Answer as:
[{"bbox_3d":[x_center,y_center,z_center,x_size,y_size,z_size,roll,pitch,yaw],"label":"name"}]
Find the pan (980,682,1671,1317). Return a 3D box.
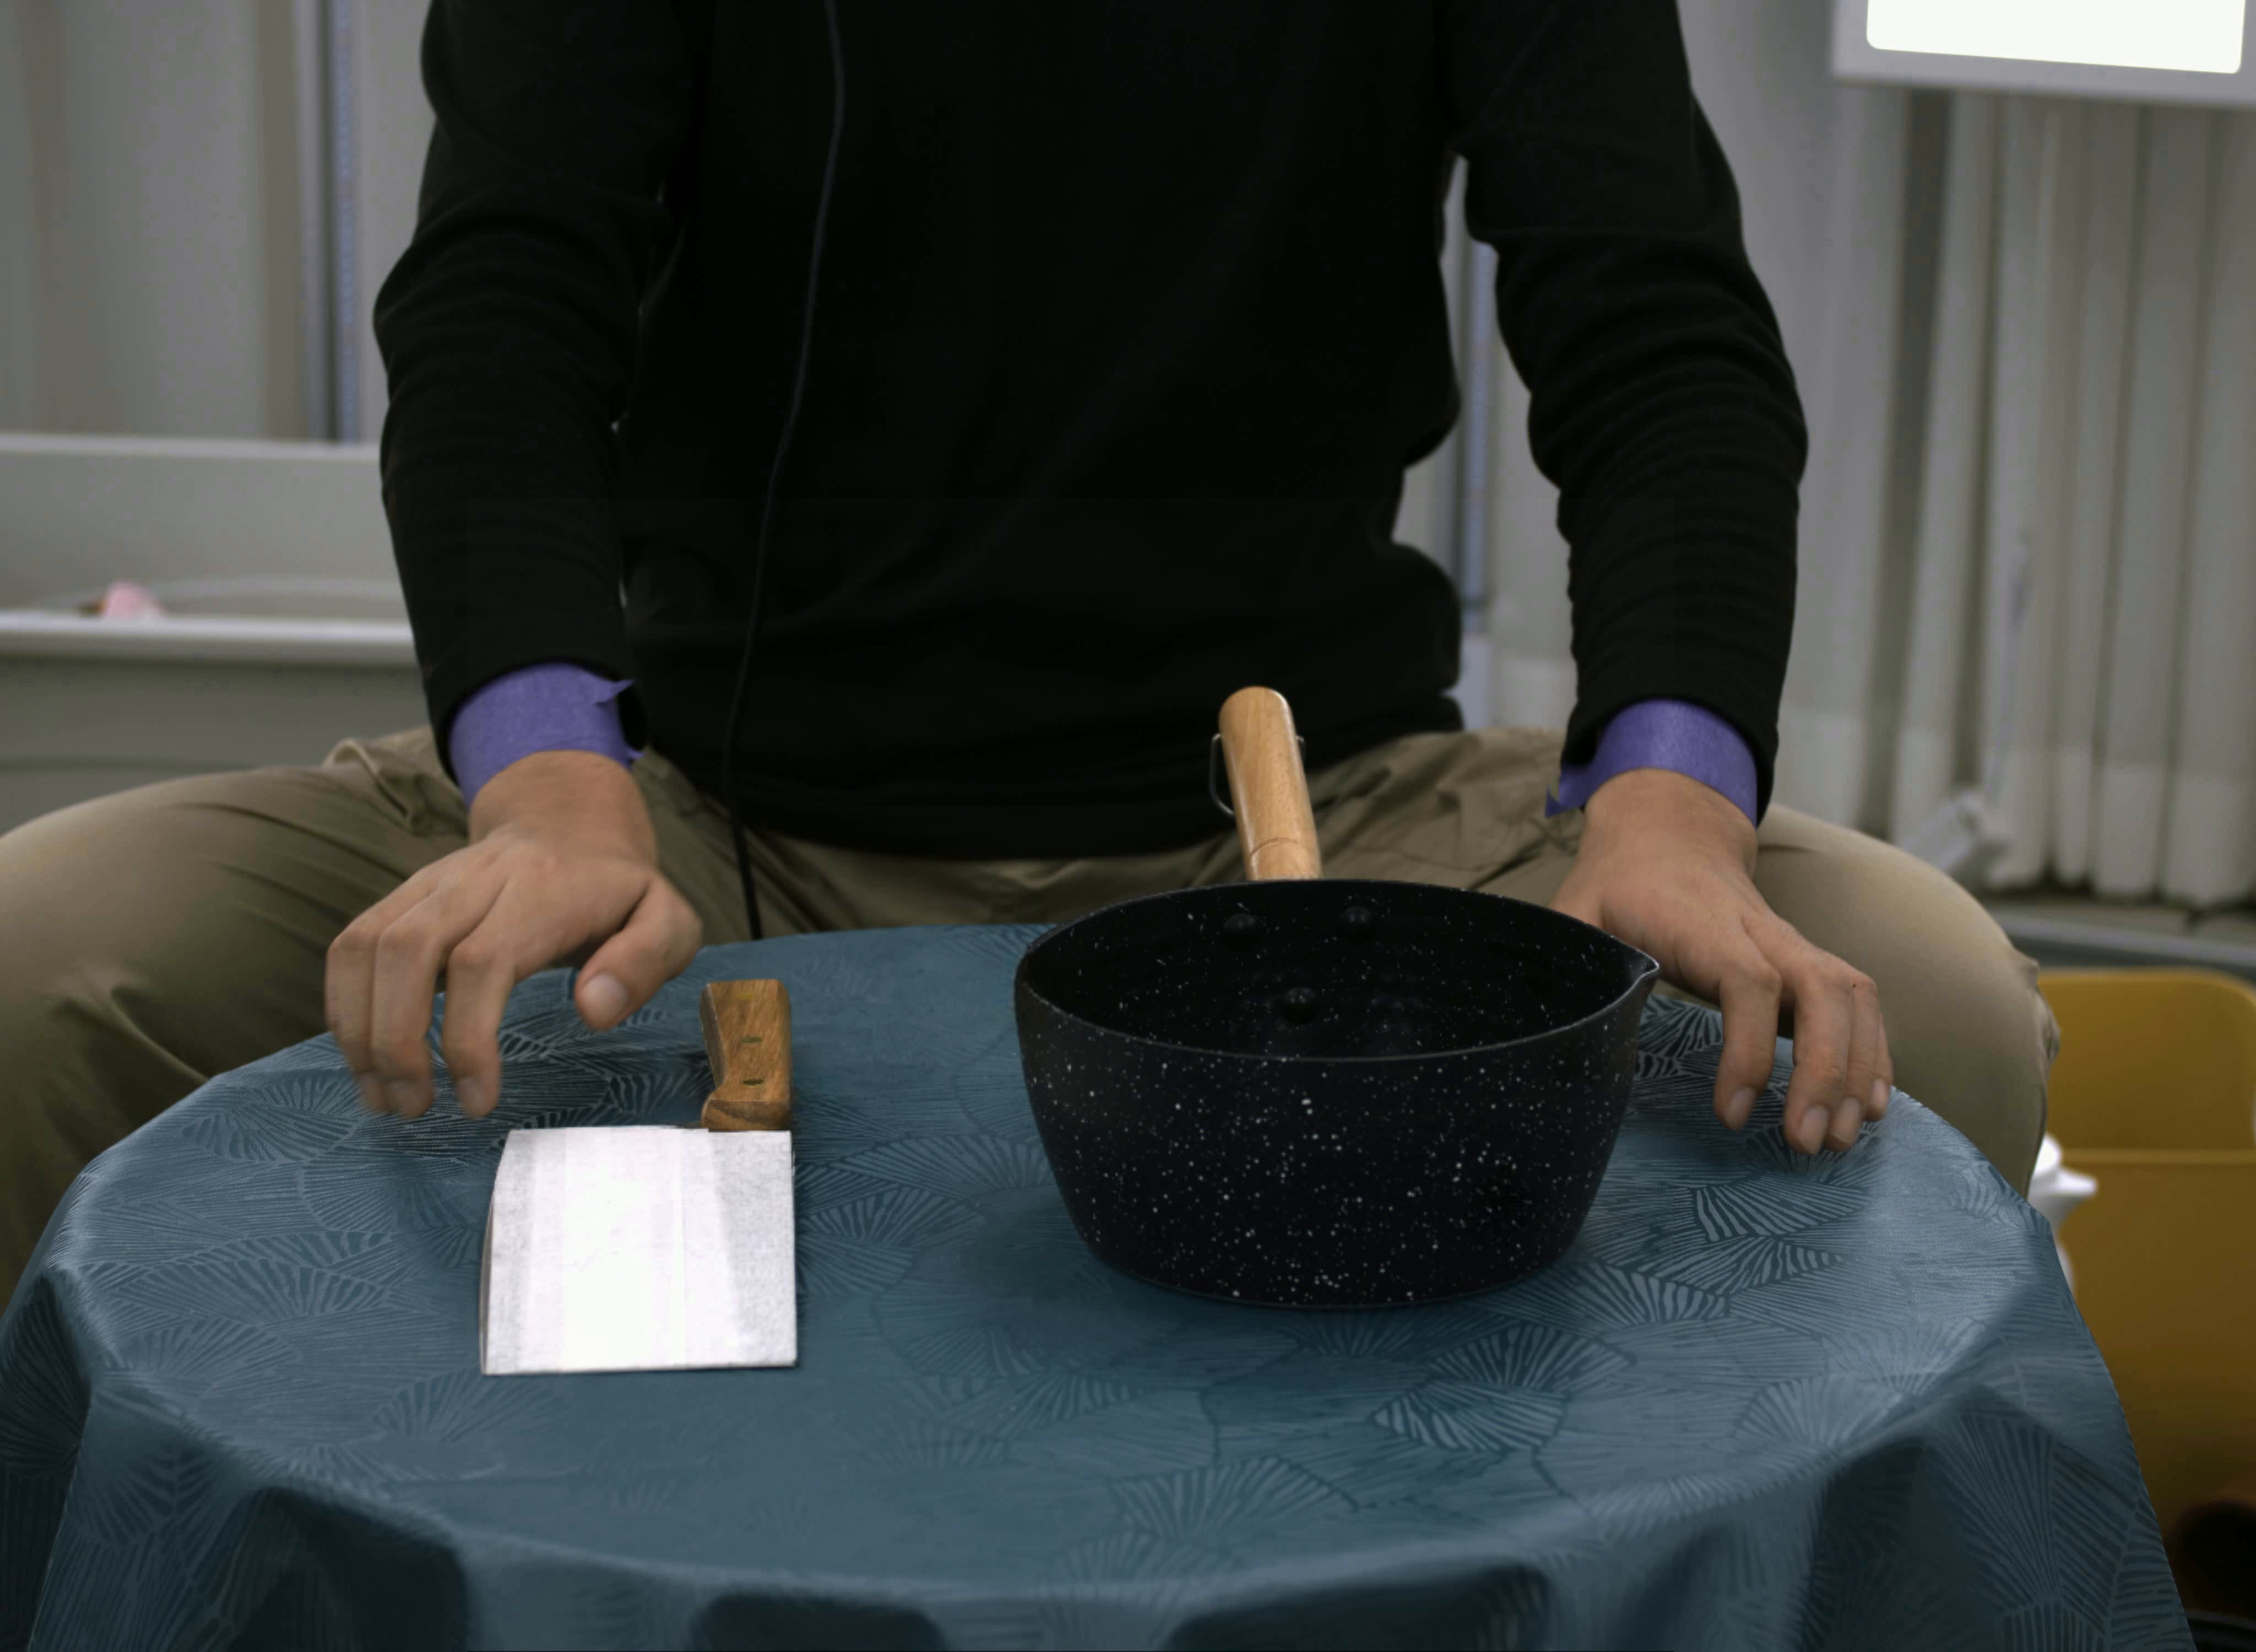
[{"bbox_3d":[0.053,0.049,1.653,0.207,0.109,0.340,-1,17,-5],"label":"pan"}]

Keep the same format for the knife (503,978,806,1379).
[{"bbox_3d":[-0.145,0.106,1.614,0.093,0.021,0.303,-2,18,-3],"label":"knife"}]
